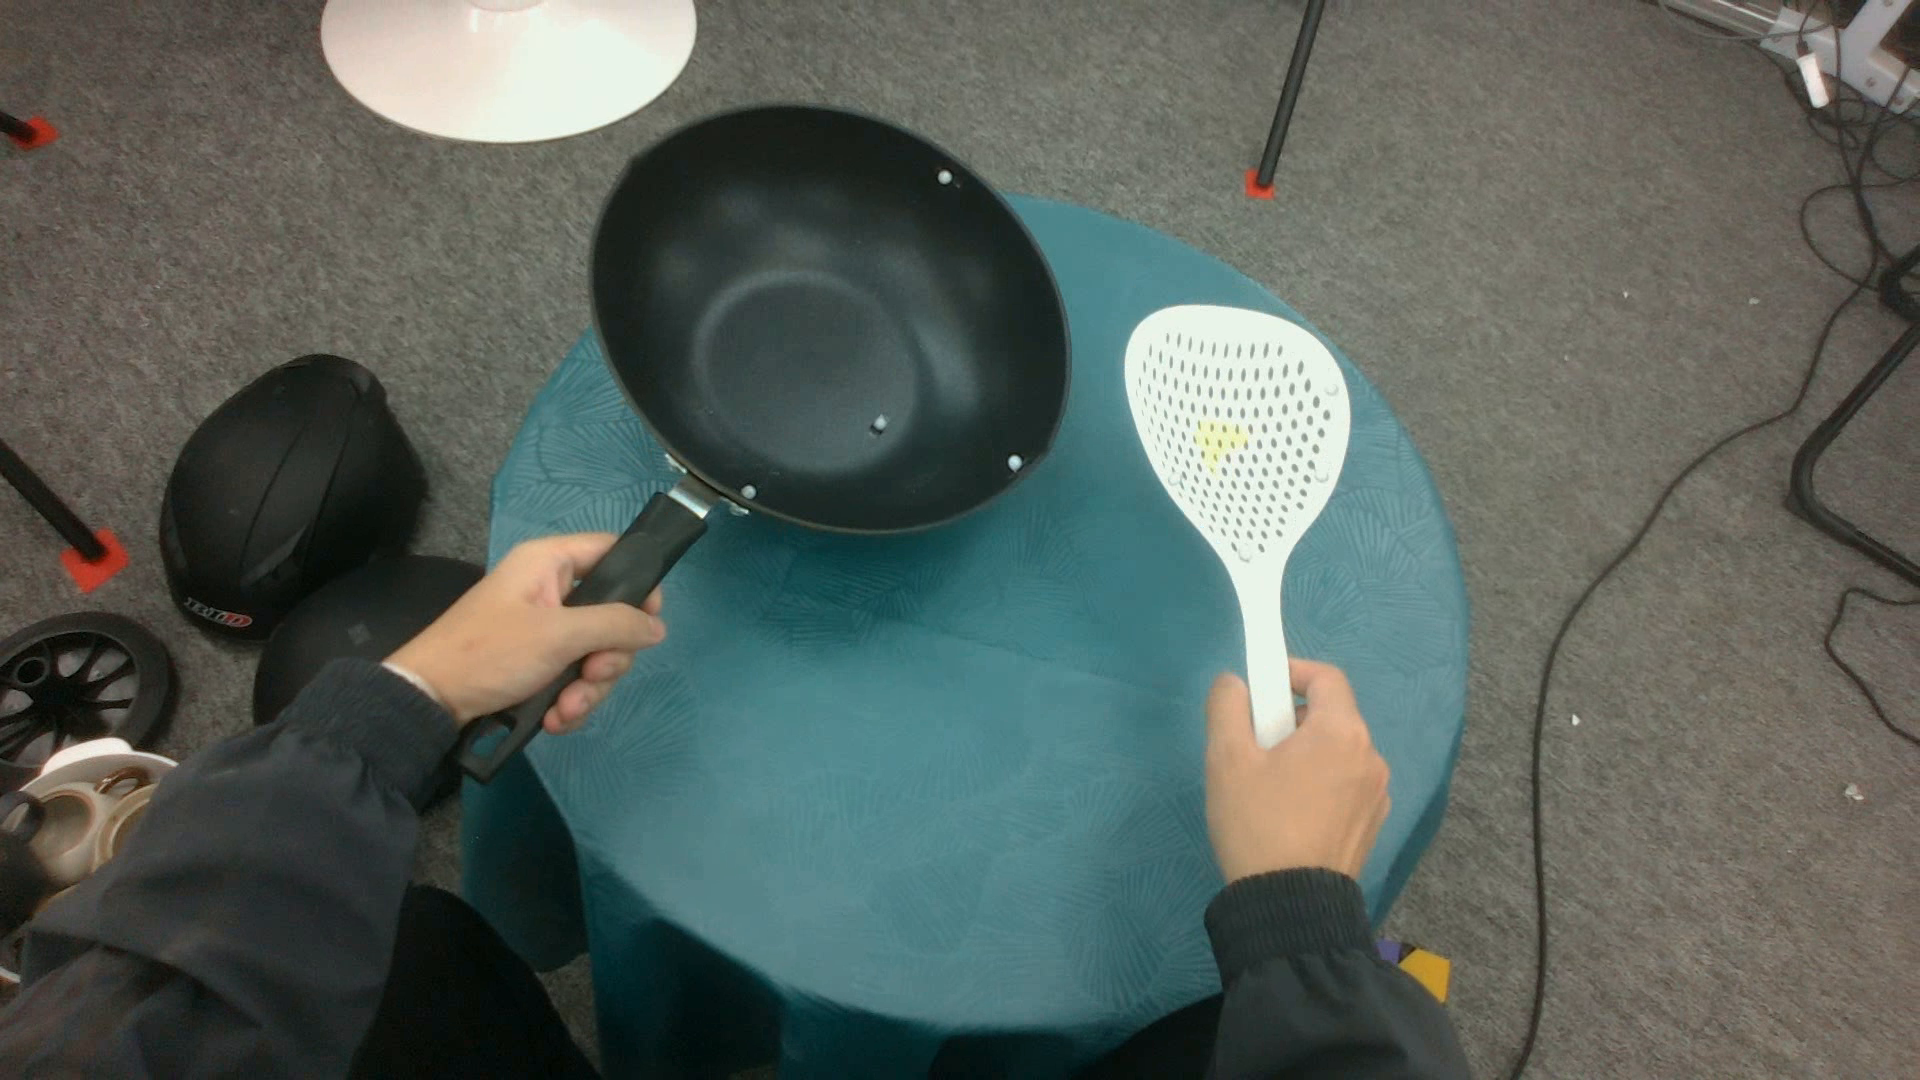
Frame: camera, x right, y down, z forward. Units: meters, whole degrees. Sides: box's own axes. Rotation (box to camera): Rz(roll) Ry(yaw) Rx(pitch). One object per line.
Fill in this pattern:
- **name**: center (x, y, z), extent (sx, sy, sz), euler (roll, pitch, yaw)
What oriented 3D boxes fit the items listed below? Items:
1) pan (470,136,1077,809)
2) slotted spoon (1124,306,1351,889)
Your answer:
- **pan**: center (-0.116, -0.036, 0.785), extent (0.288, 0.086, 0.465), euler (32, 61, -2)
- **slotted spoon**: center (0.165, 0.015, 0.759), extent (0.137, 0.050, 0.349), euler (2, 56, -8)
